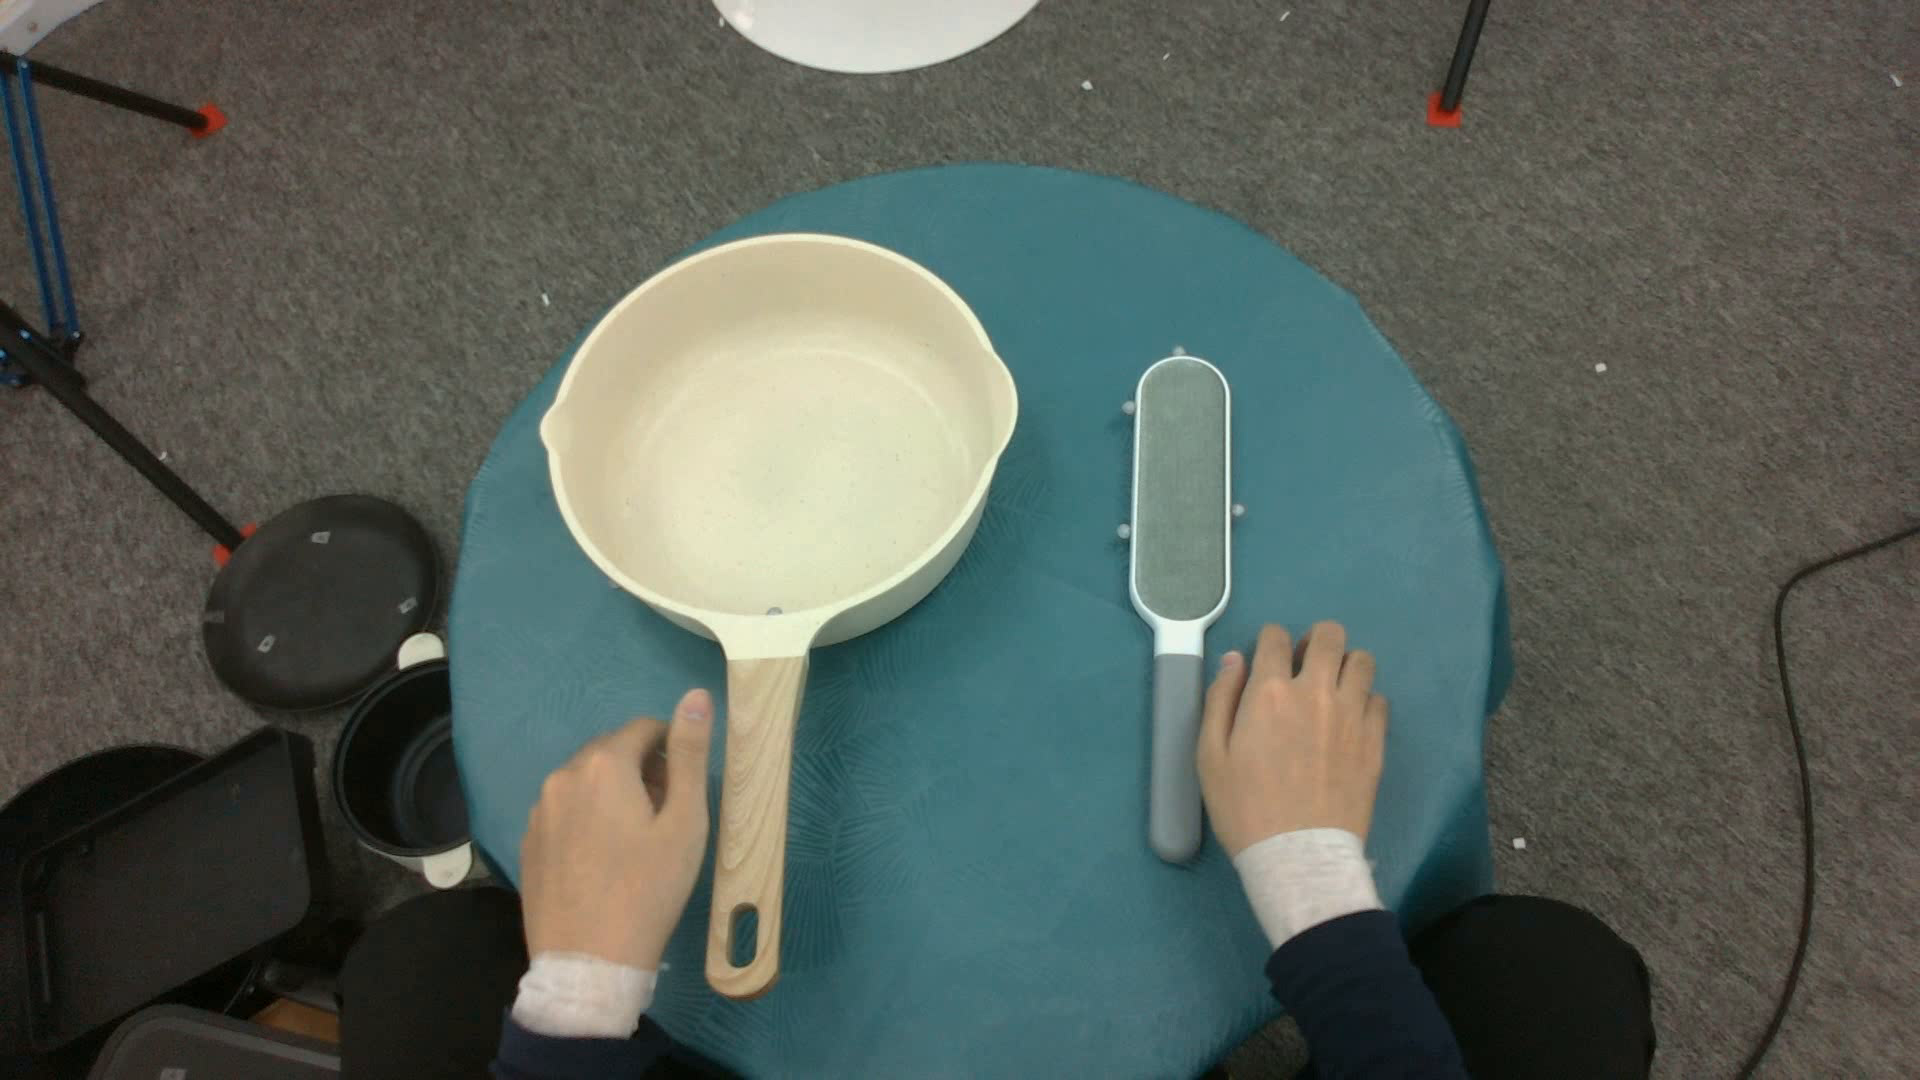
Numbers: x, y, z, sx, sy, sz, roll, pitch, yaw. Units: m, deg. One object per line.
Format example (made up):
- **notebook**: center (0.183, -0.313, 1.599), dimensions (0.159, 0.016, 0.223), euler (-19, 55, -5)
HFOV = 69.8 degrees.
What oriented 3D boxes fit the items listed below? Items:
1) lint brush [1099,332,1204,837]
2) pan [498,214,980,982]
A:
- **lint brush**: center (0.107, 0.013, 0.772), dimensions (0.060, 0.021, 0.310), euler (5, 64, -1)
- **pan**: center (-0.116, 0.018, 0.740), dimensions (0.263, 0.101, 0.436), euler (-2, 63, -2)
